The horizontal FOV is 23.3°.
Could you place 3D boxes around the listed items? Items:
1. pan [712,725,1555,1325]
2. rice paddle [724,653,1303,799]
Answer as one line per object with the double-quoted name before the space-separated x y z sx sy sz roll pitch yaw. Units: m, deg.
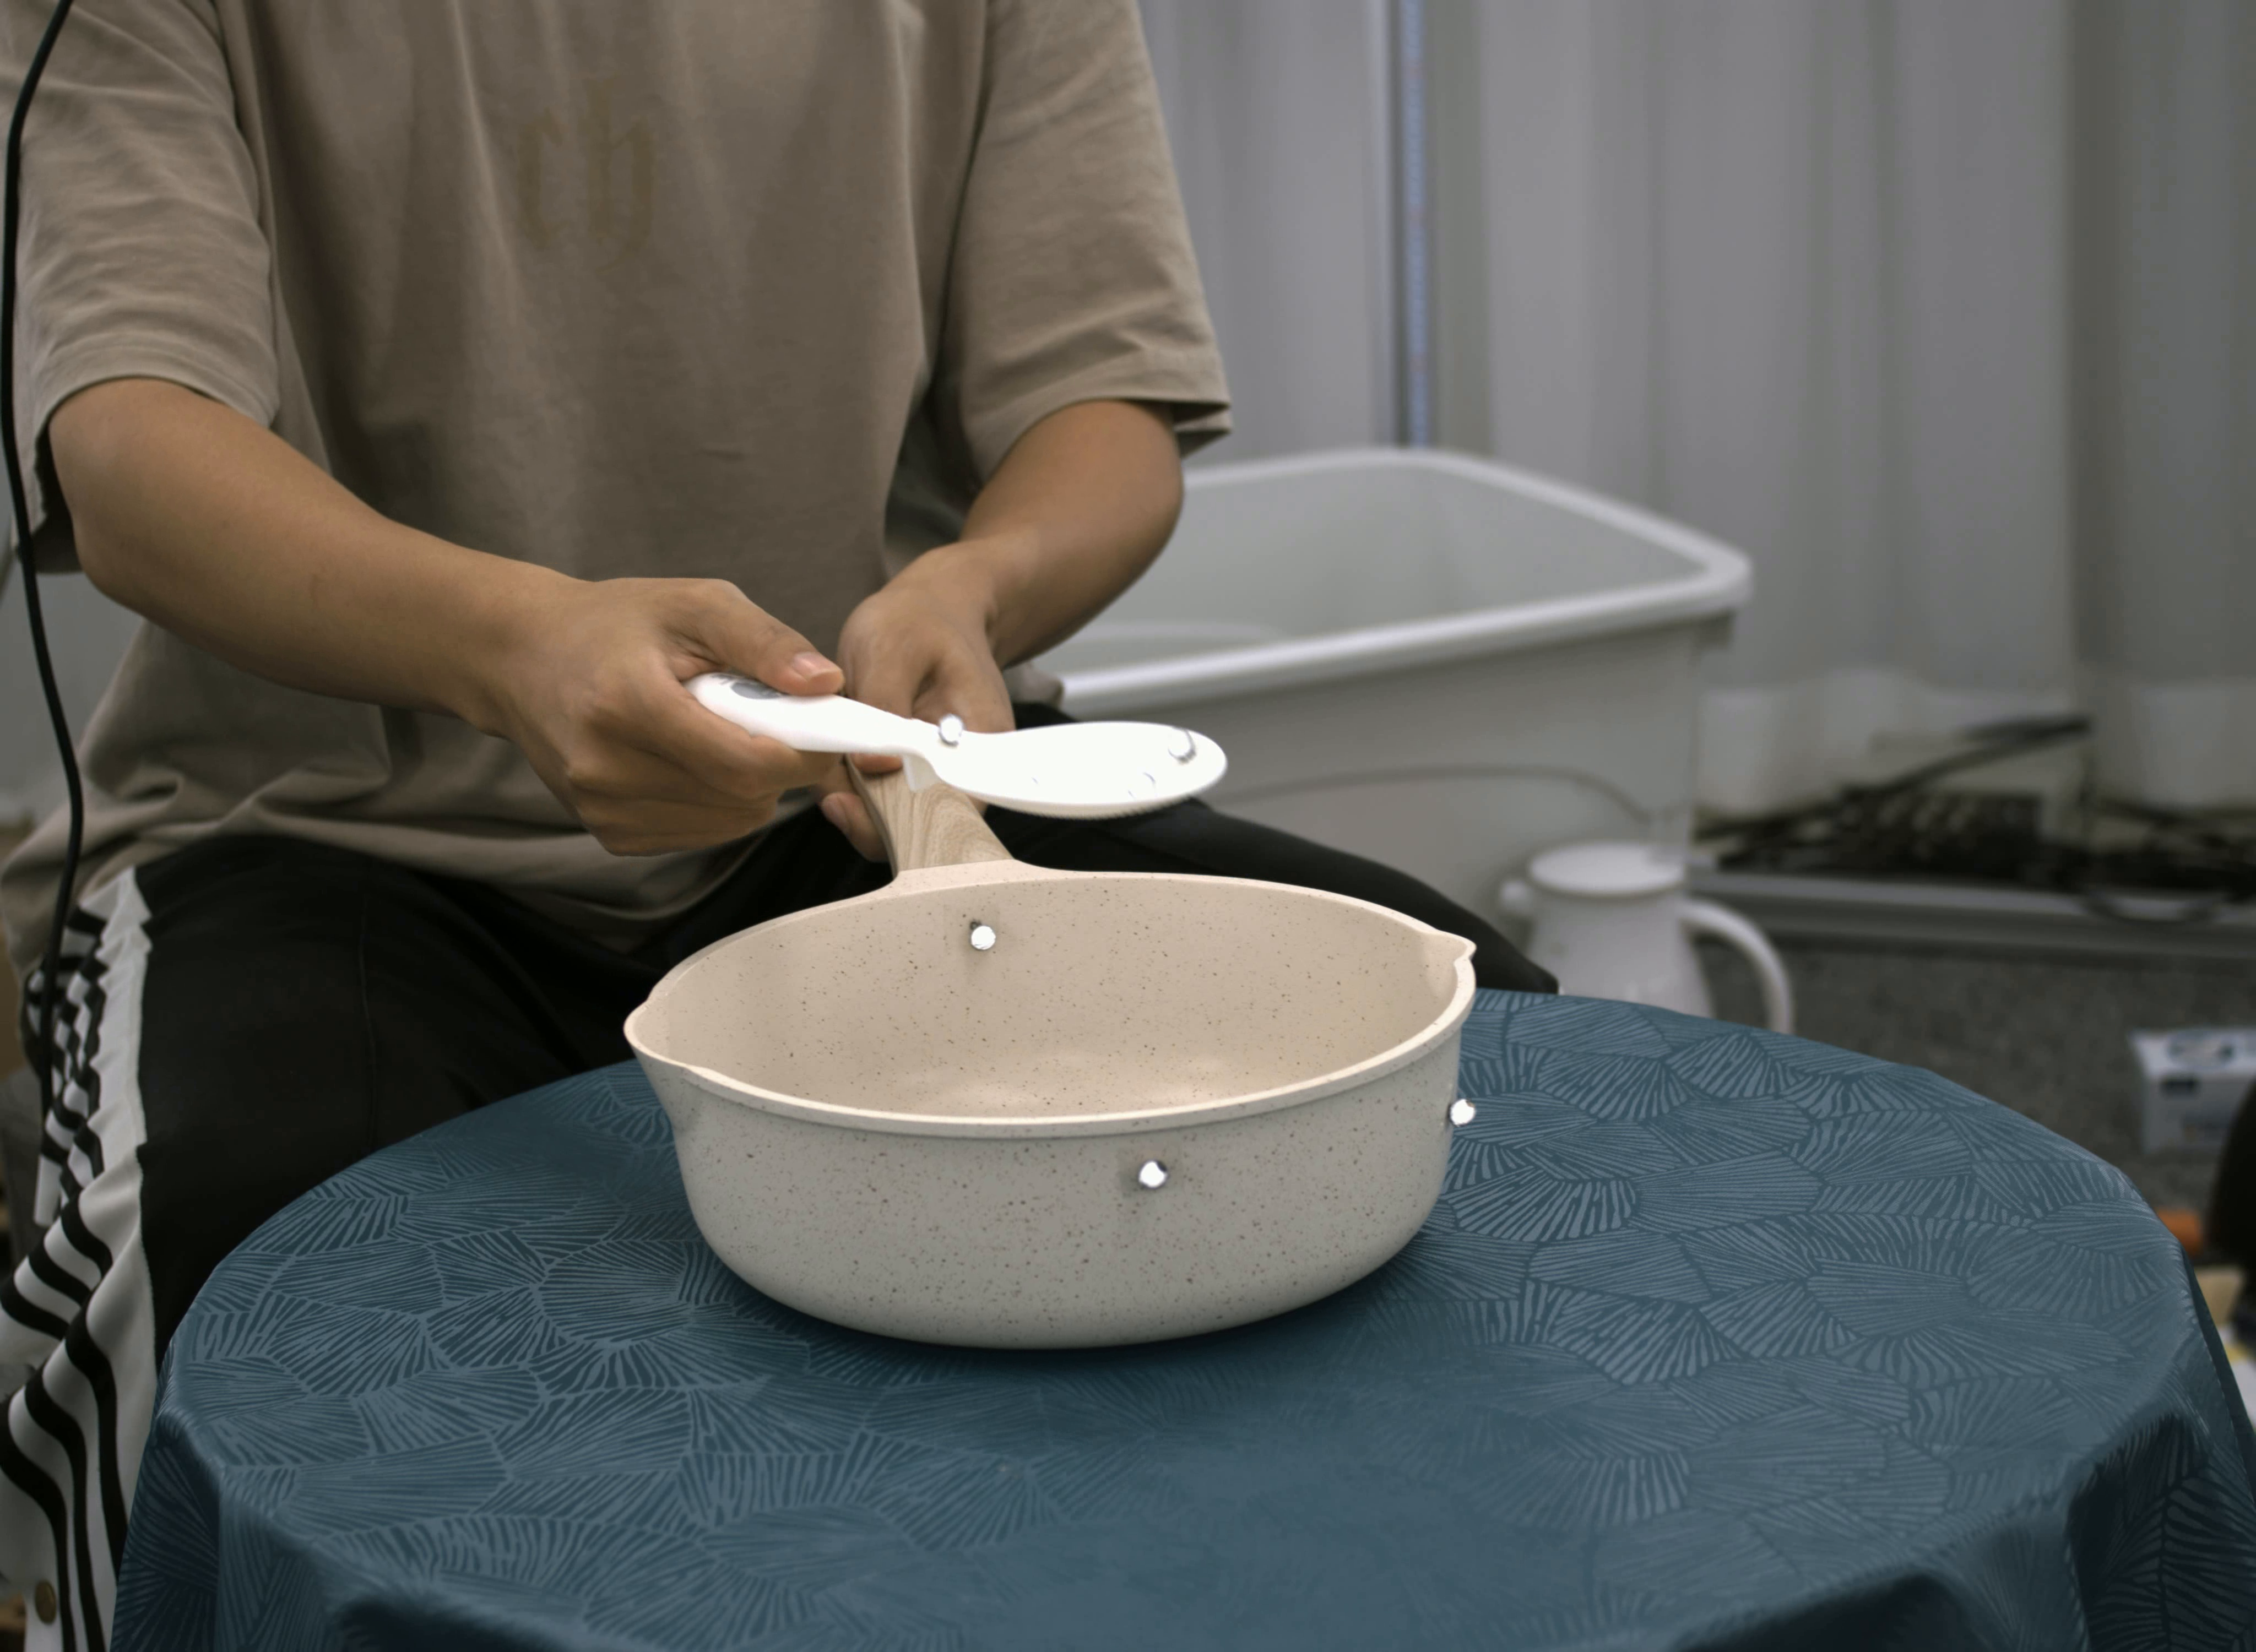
"pan" -0.017 0.053 1.749 0.262 0.101 0.438 -8 15 -13
"rice paddle" -0.035 -0.030 1.646 0.206 0.029 0.069 7 24 37
